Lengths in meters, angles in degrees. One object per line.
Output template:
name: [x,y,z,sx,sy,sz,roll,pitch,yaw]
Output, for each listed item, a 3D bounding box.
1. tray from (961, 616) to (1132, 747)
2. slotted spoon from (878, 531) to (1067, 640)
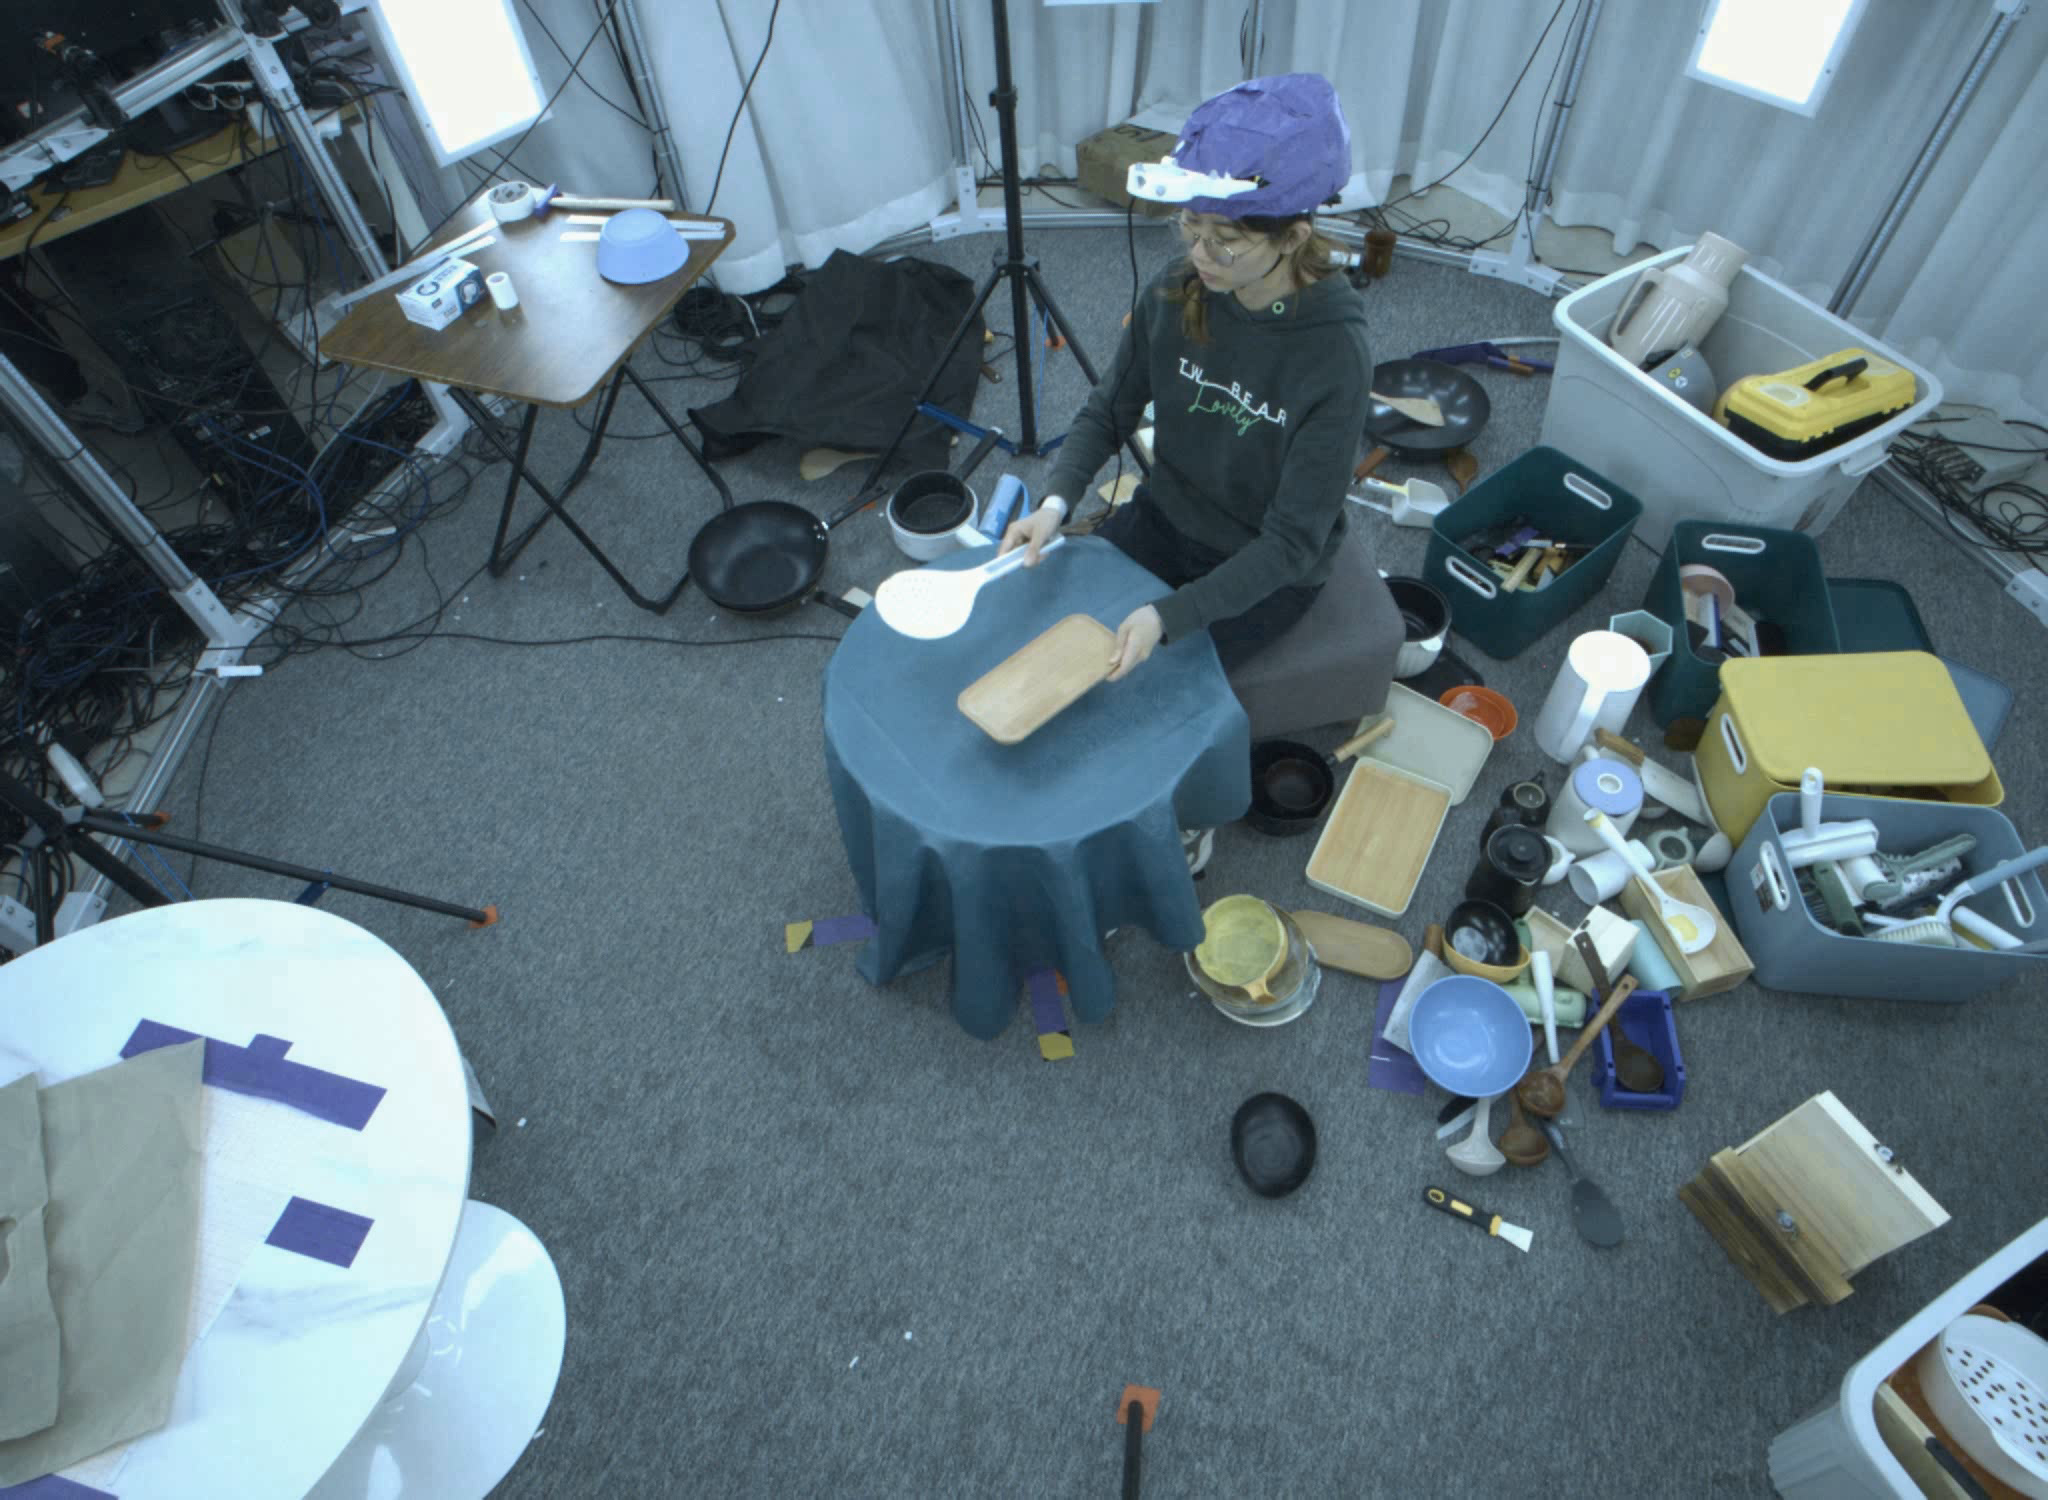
tray: [0.033,-0.100,1.768,0.252,0.023,0.128,-37,59,-22]
slotted spoon: [-0.067,-0.256,1.834,0.353,0.046,0.134,-34,69,-29]
